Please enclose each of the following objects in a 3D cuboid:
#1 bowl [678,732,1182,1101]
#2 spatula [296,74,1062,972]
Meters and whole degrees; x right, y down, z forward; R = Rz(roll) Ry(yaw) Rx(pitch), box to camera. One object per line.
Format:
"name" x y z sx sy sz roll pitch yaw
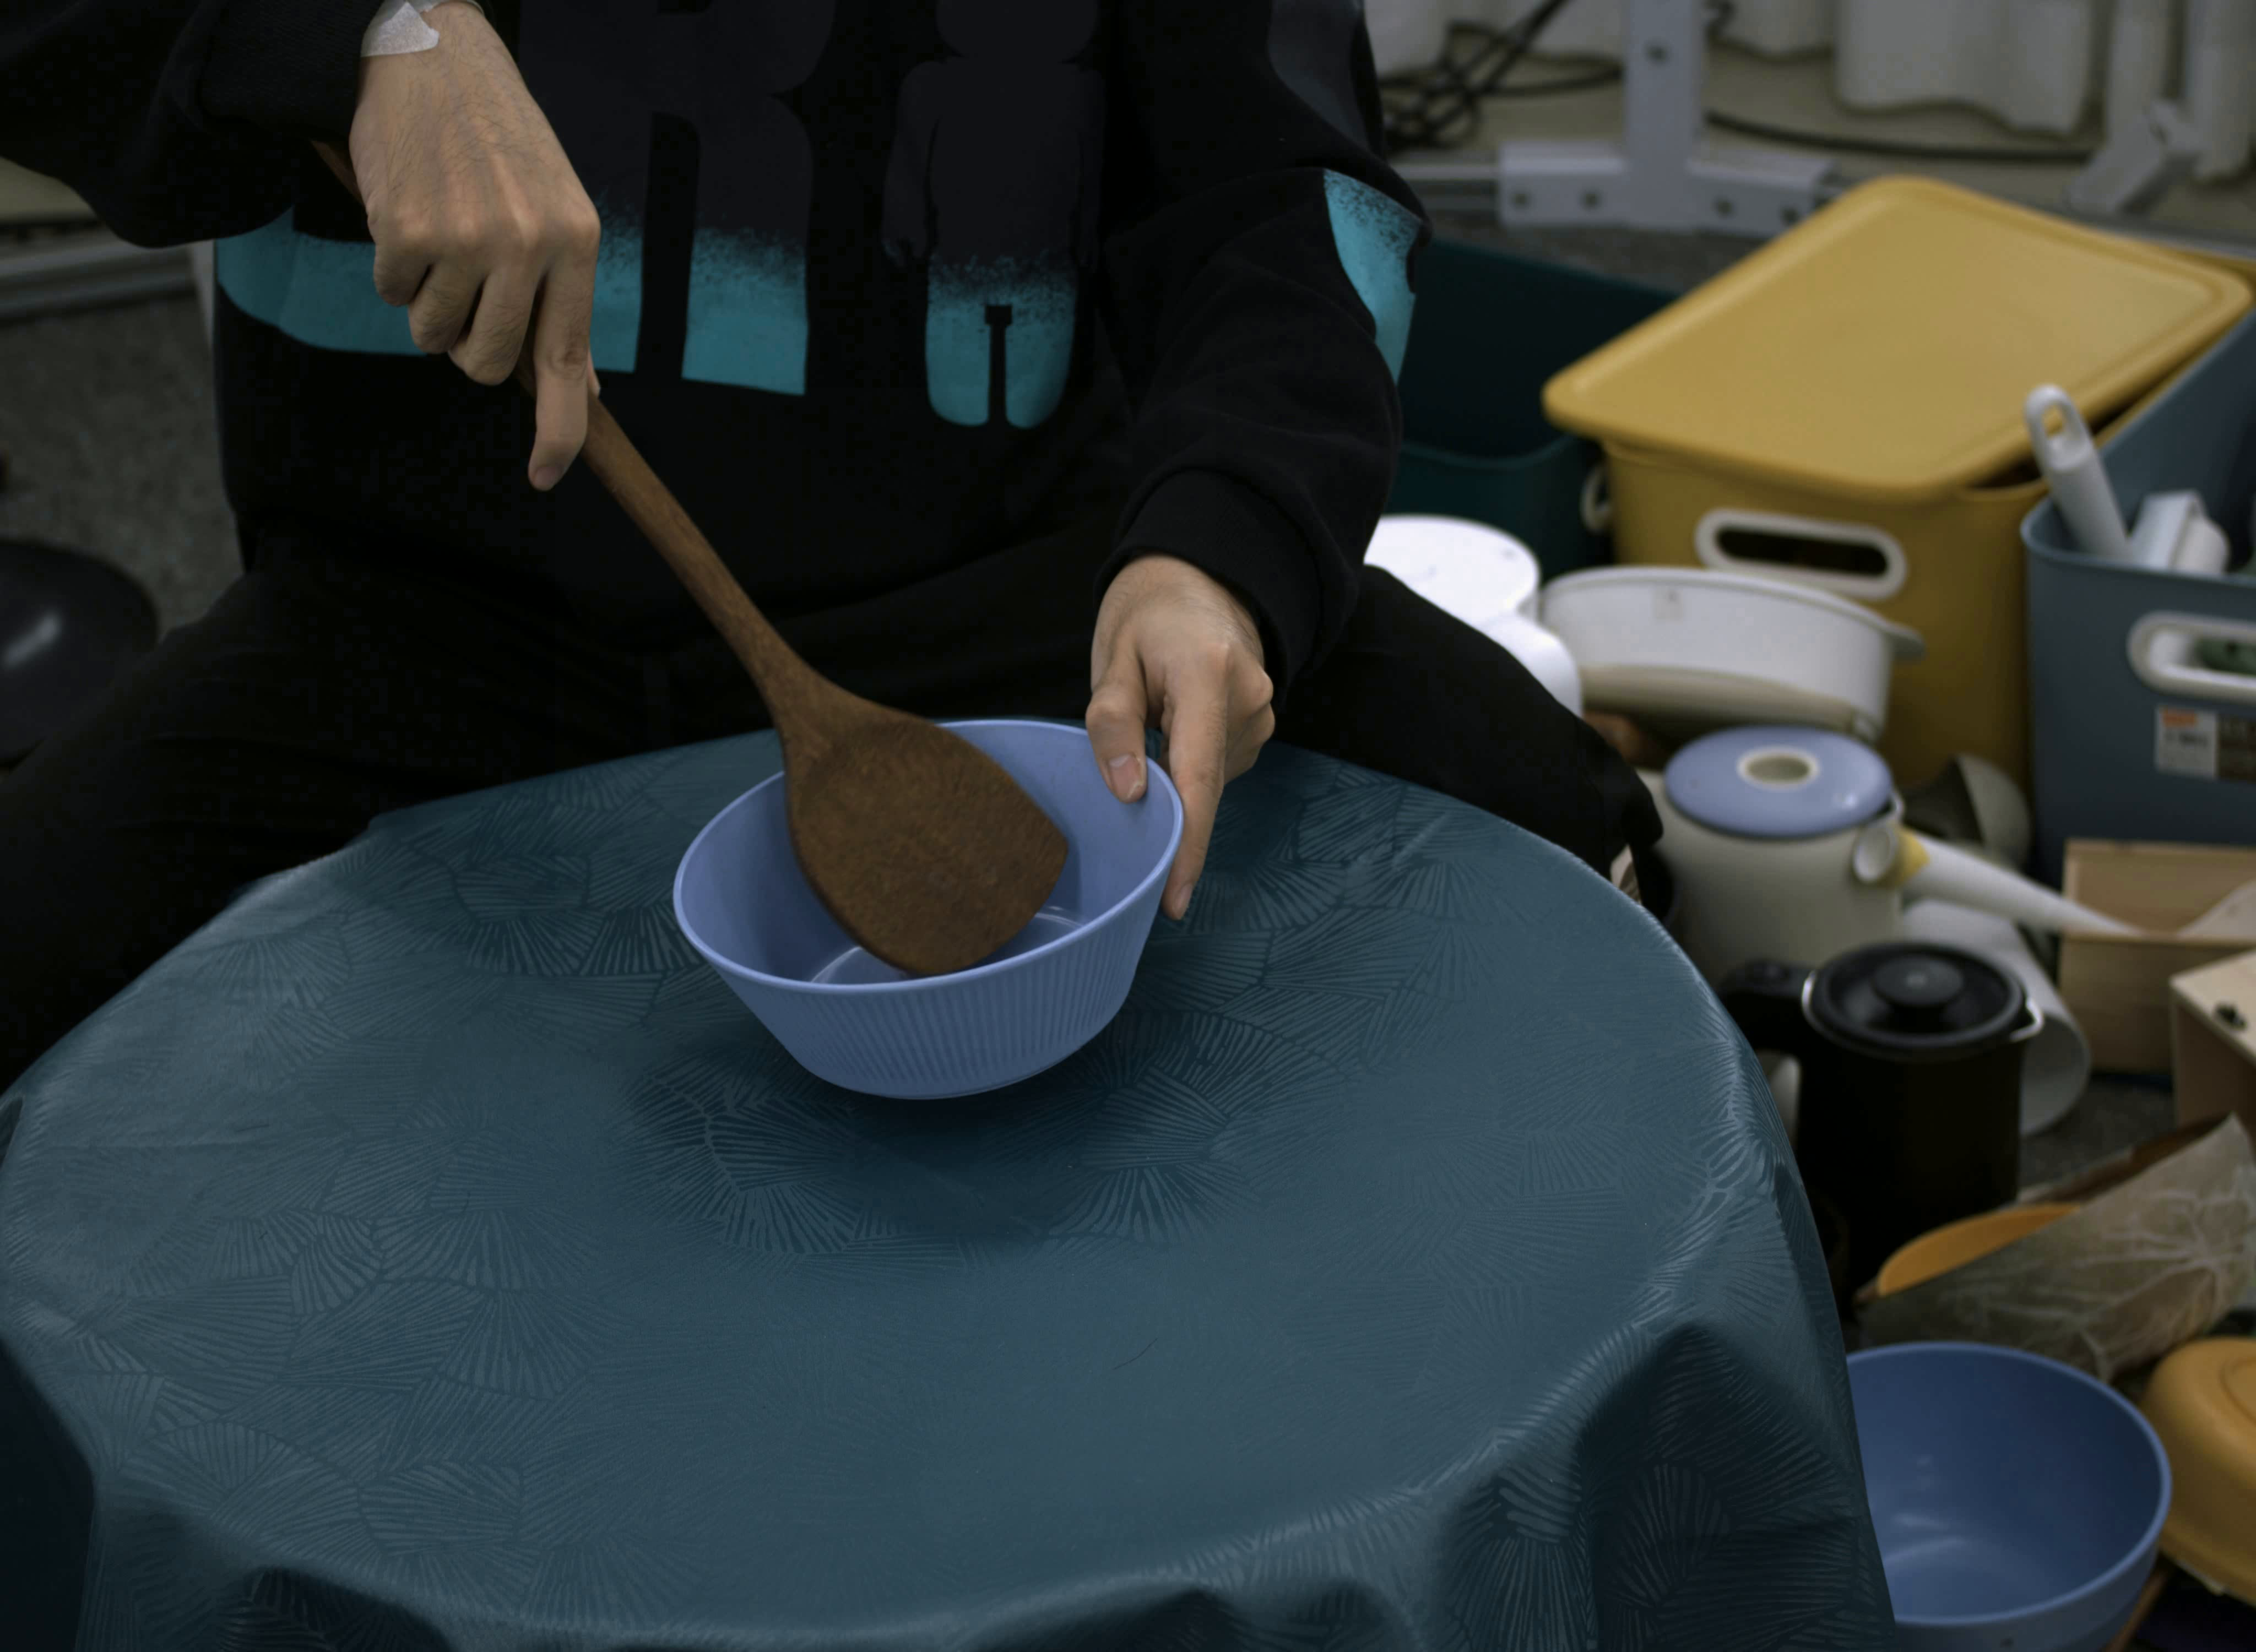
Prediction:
"bowl" -0.063 0.037 1.923 0.175 0.069 0.179 -7 27 4
"spatula" -0.164 -0.108 1.945 0.097 0.386 0.015 -37 -2 -38
